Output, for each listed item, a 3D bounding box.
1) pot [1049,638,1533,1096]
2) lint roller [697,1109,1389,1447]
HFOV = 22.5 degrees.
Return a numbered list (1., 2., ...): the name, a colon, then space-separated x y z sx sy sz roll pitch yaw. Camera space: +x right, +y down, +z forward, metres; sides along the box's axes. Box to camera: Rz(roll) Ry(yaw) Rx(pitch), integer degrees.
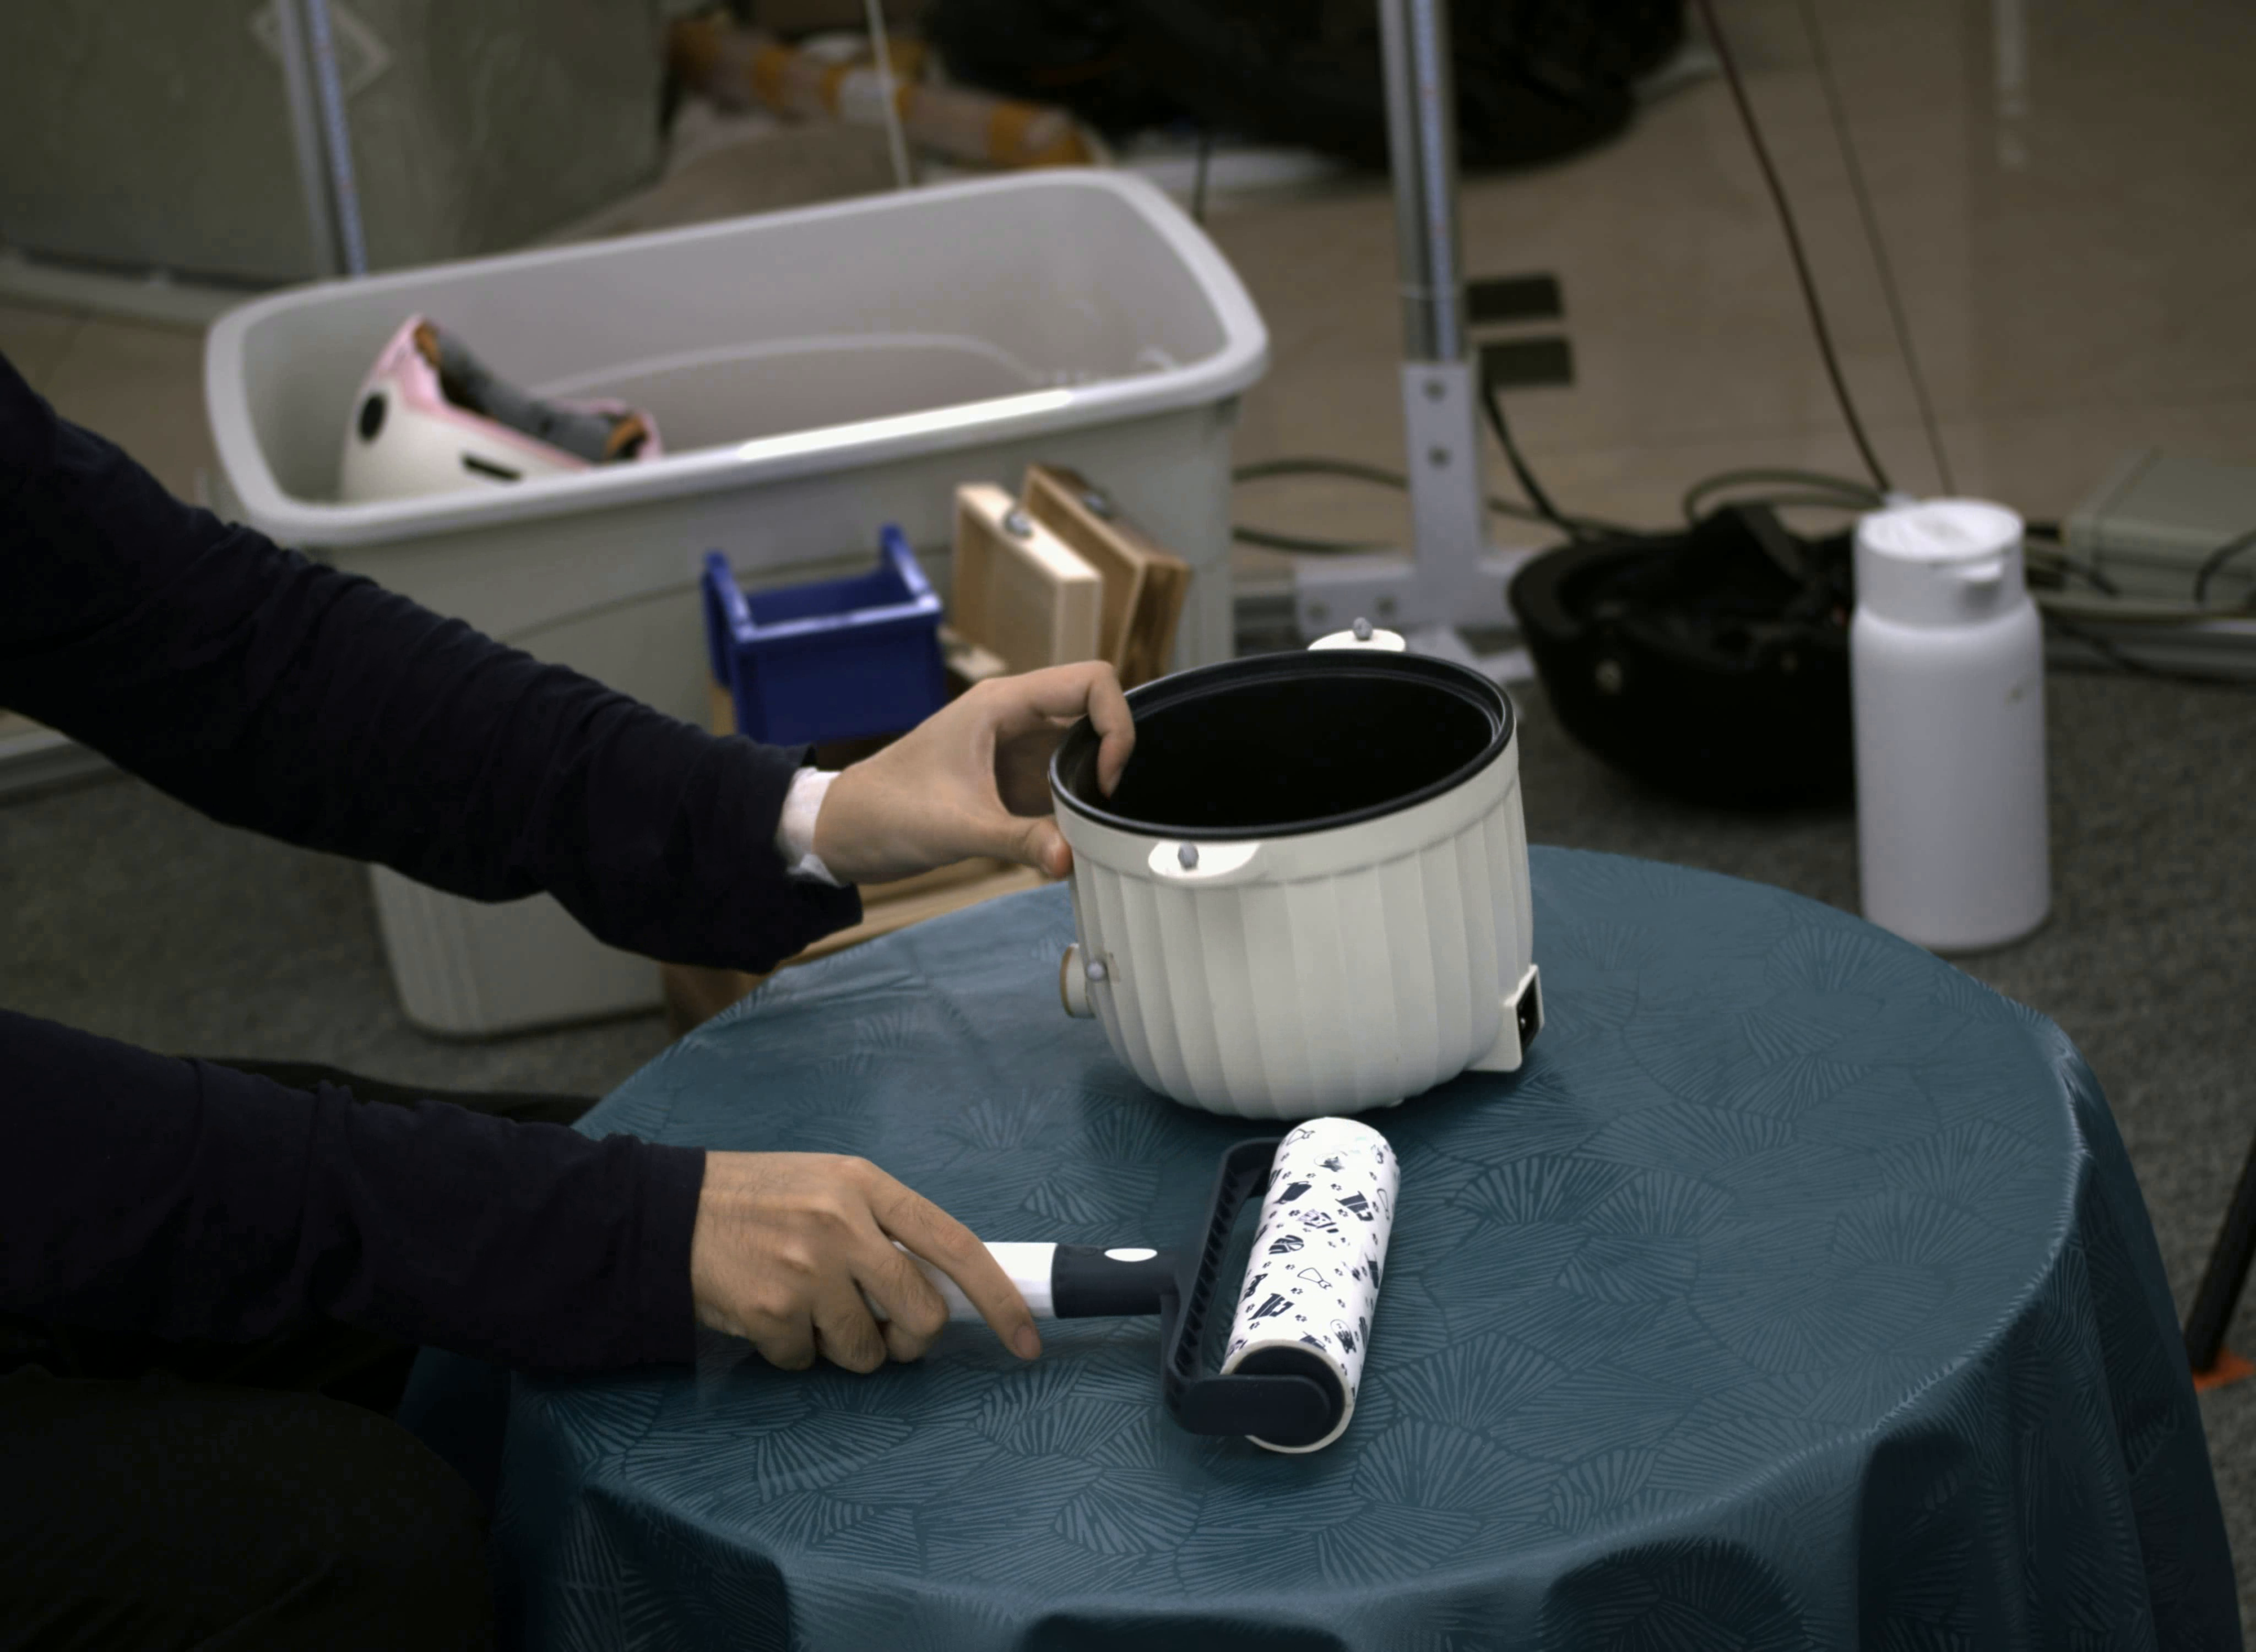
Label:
1. pot: 0.060 0.021 2.210 0.190 0.144 0.238 4 19 19
2. lint roller: -0.036 0.164 2.042 0.246 0.051 0.173 -2 27 10
